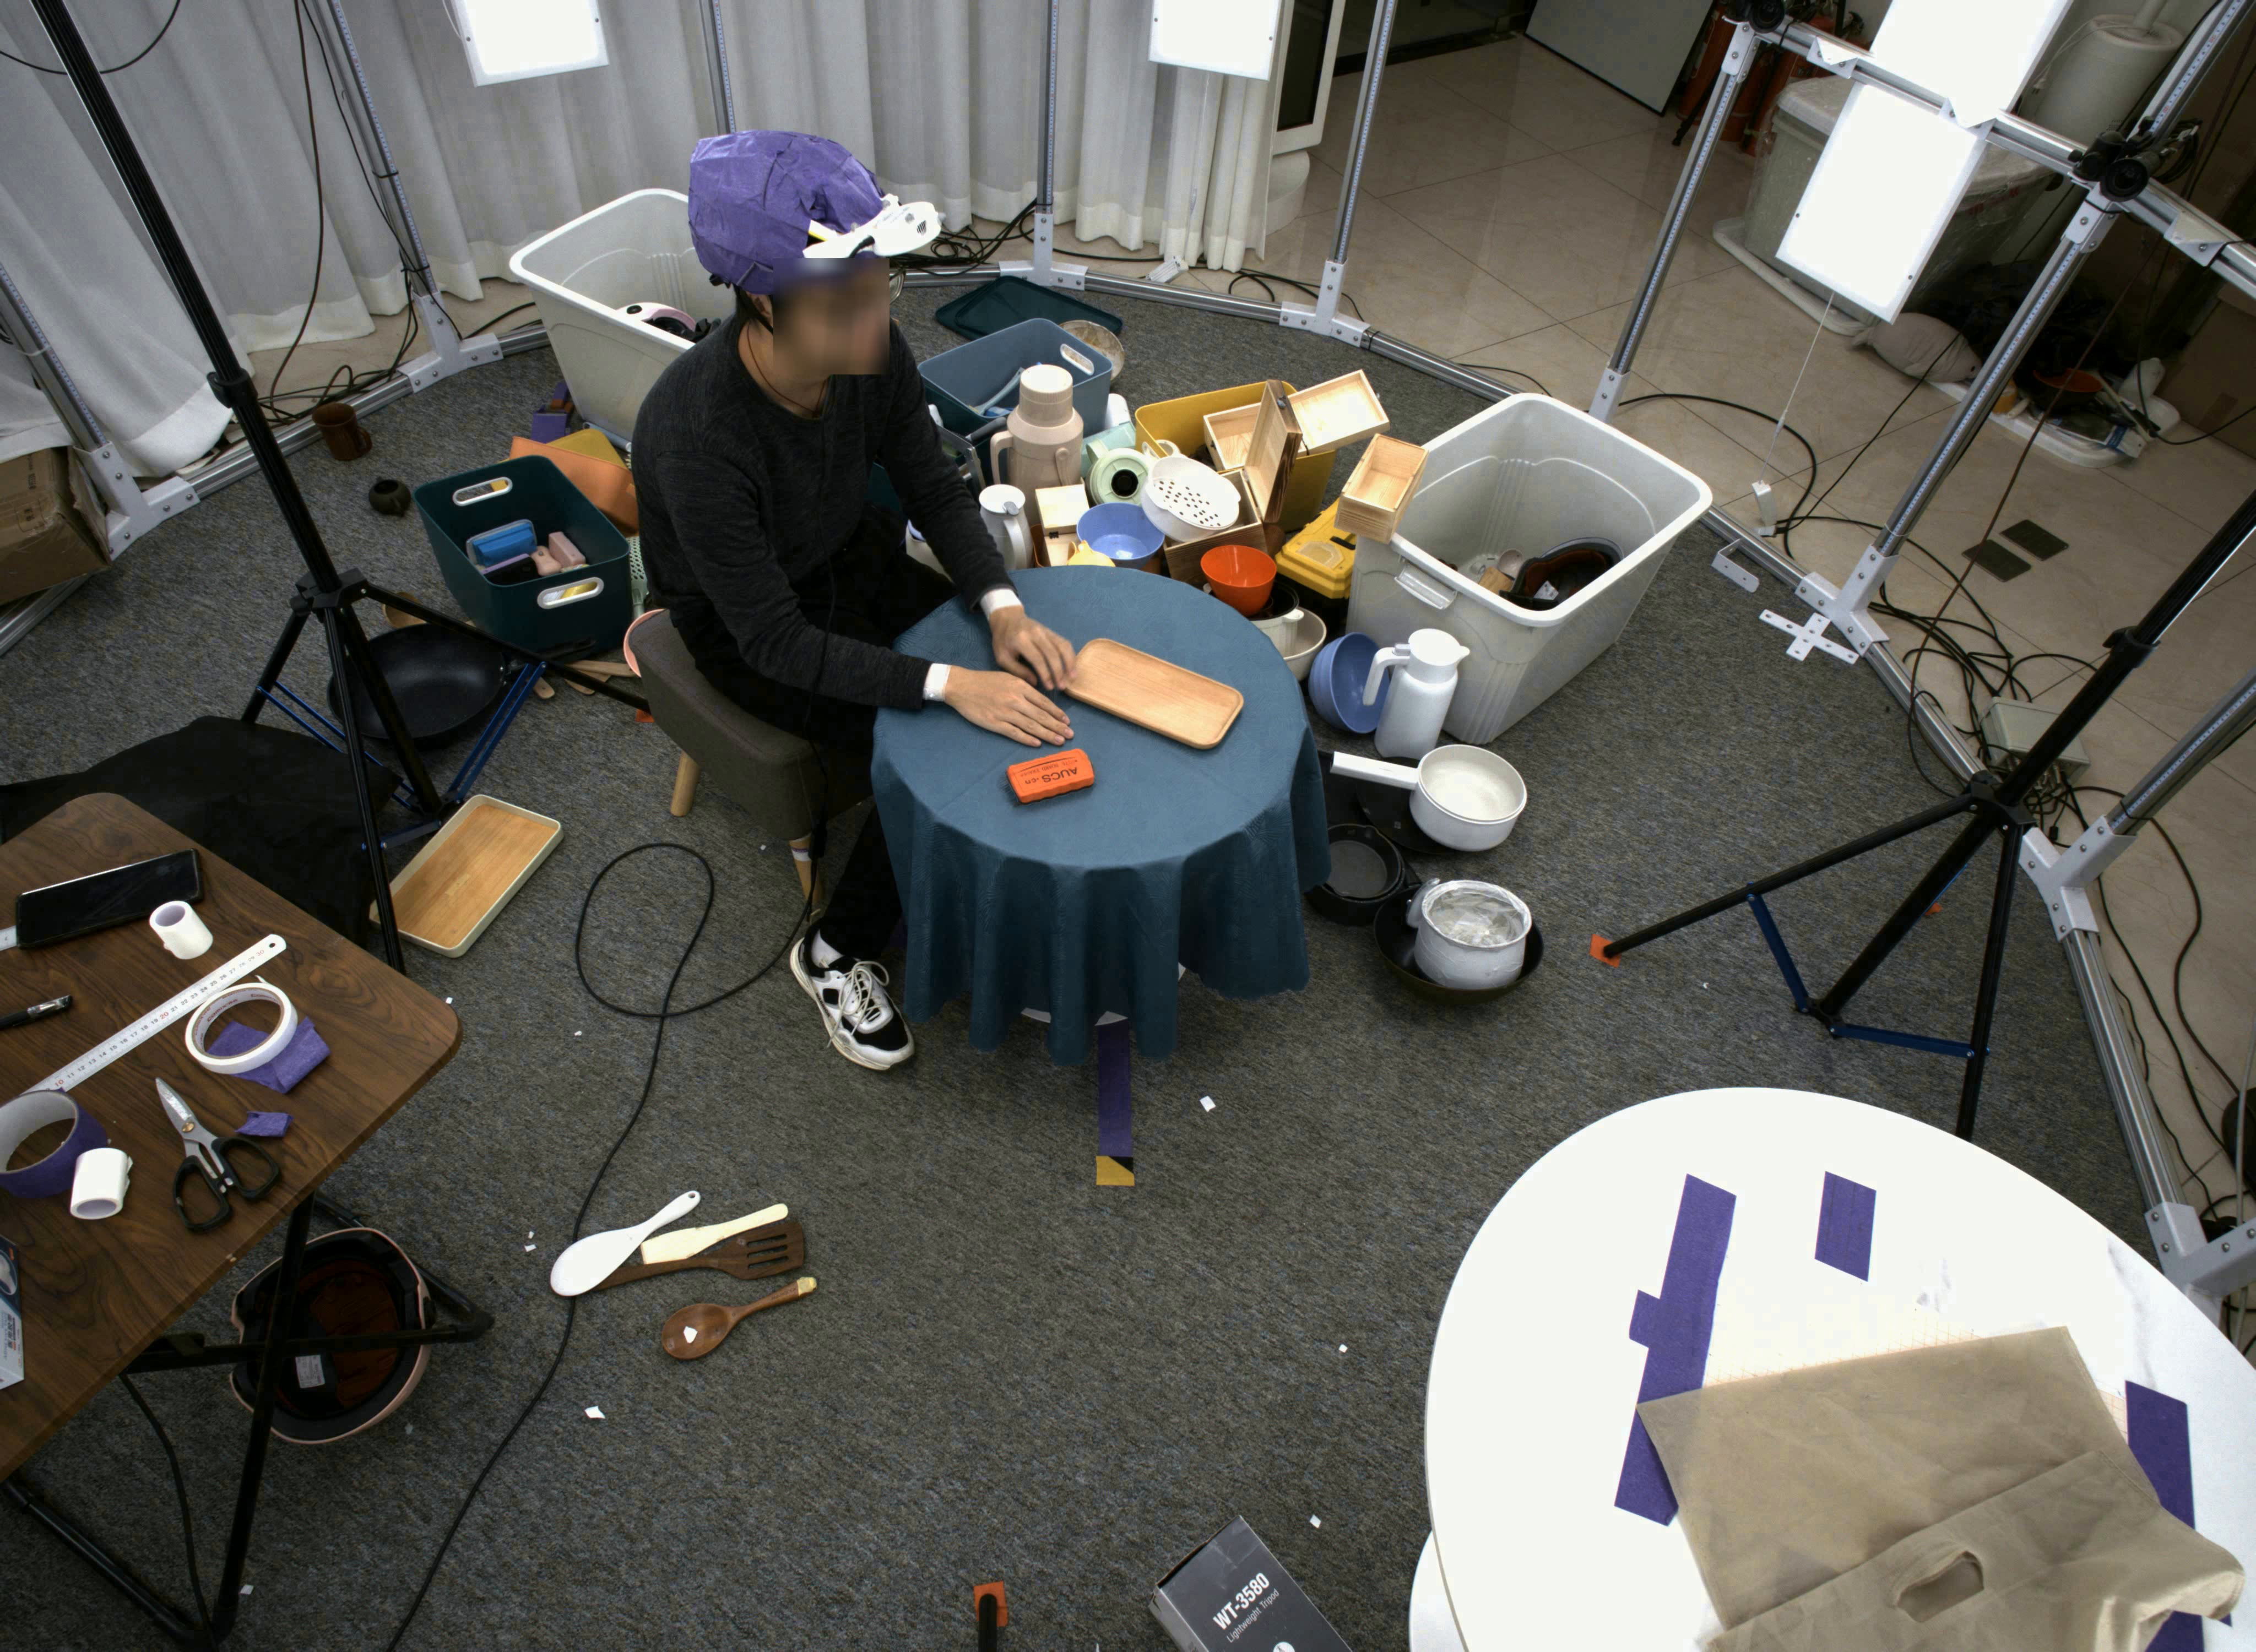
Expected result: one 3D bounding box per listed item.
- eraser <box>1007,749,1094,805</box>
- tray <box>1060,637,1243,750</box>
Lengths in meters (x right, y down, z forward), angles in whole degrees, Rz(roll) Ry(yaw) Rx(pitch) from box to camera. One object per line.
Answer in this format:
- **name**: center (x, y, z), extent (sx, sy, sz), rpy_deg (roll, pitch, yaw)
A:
- **eraser**: center (-0.103, -0.066, 1.704), extent (0.108, 0.022, 0.060), rpy_deg (-15, 51, -16)
- **tray**: center (0.033, -0.190, 1.826), extent (0.252, 0.022, 0.133), rpy_deg (24, 50, 17)
